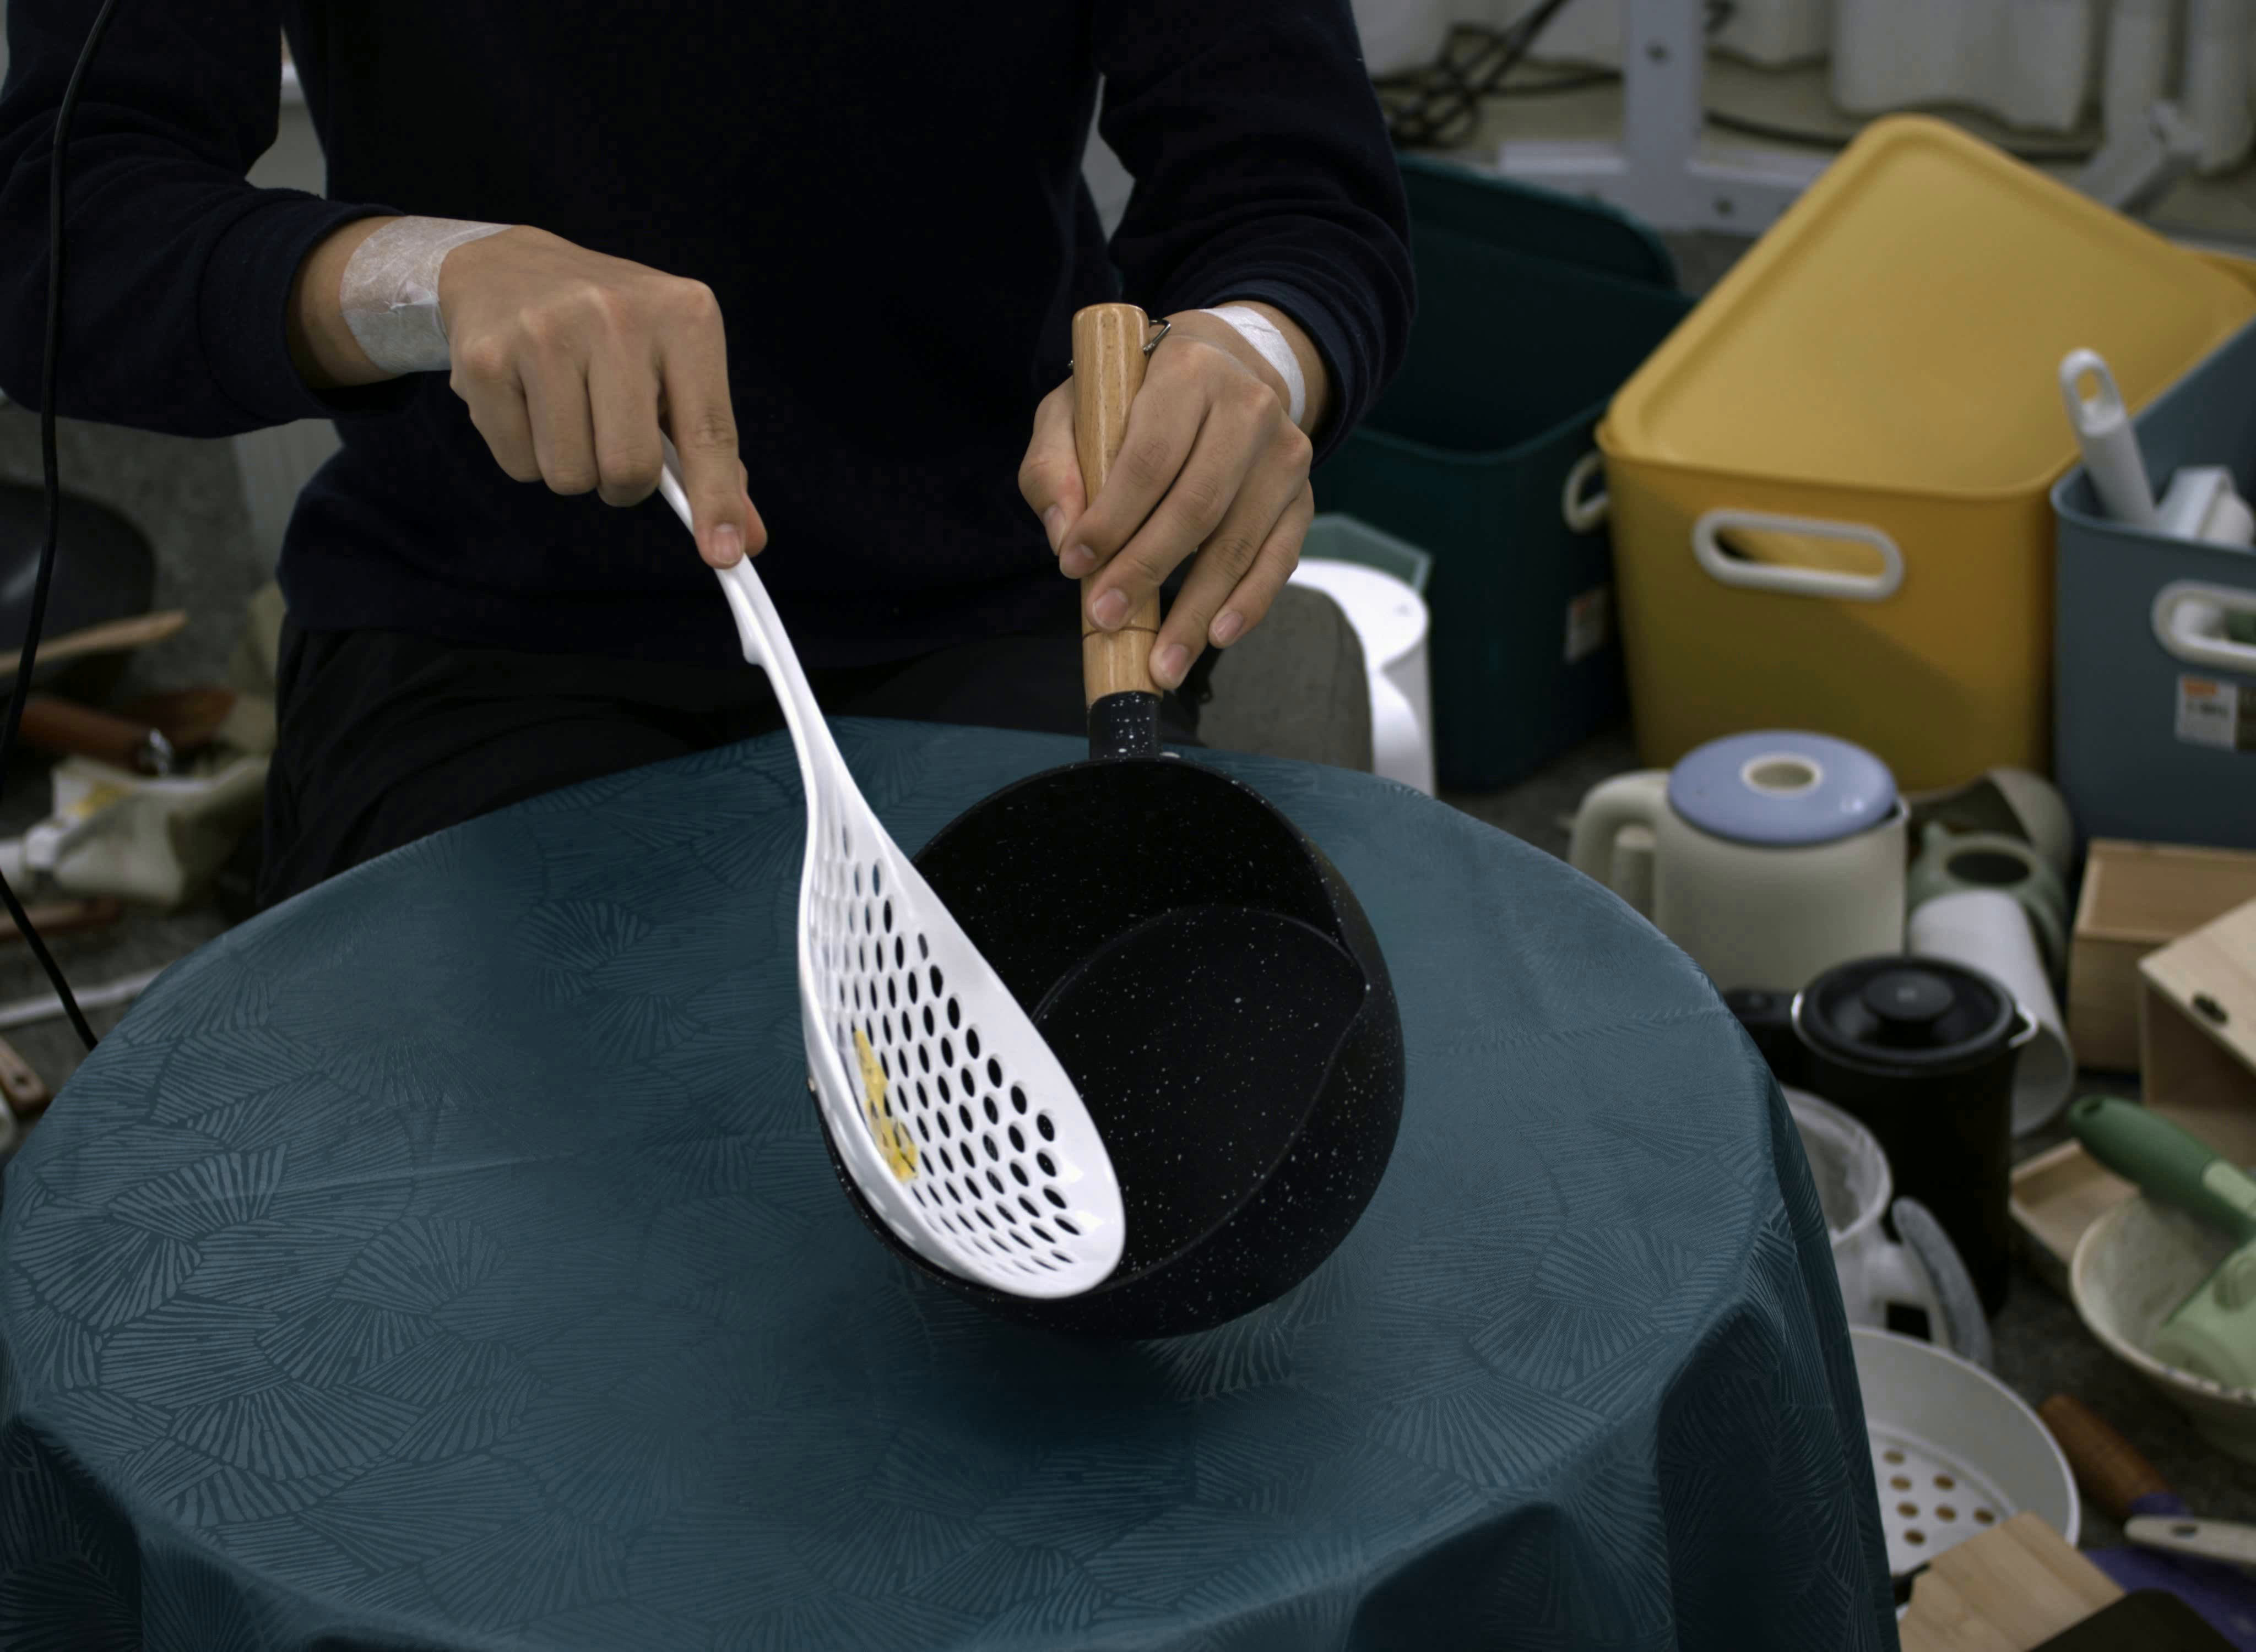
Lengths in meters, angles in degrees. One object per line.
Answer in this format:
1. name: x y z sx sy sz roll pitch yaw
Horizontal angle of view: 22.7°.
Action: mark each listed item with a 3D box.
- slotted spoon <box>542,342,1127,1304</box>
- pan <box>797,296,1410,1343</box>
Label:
1. slotted spoon: -0.100 -0.005 1.738 0.049 0.351 0.137 -29 -17 26
2. pan: 0.001 0.001 1.806 0.205 0.107 0.349 -11 61 25
